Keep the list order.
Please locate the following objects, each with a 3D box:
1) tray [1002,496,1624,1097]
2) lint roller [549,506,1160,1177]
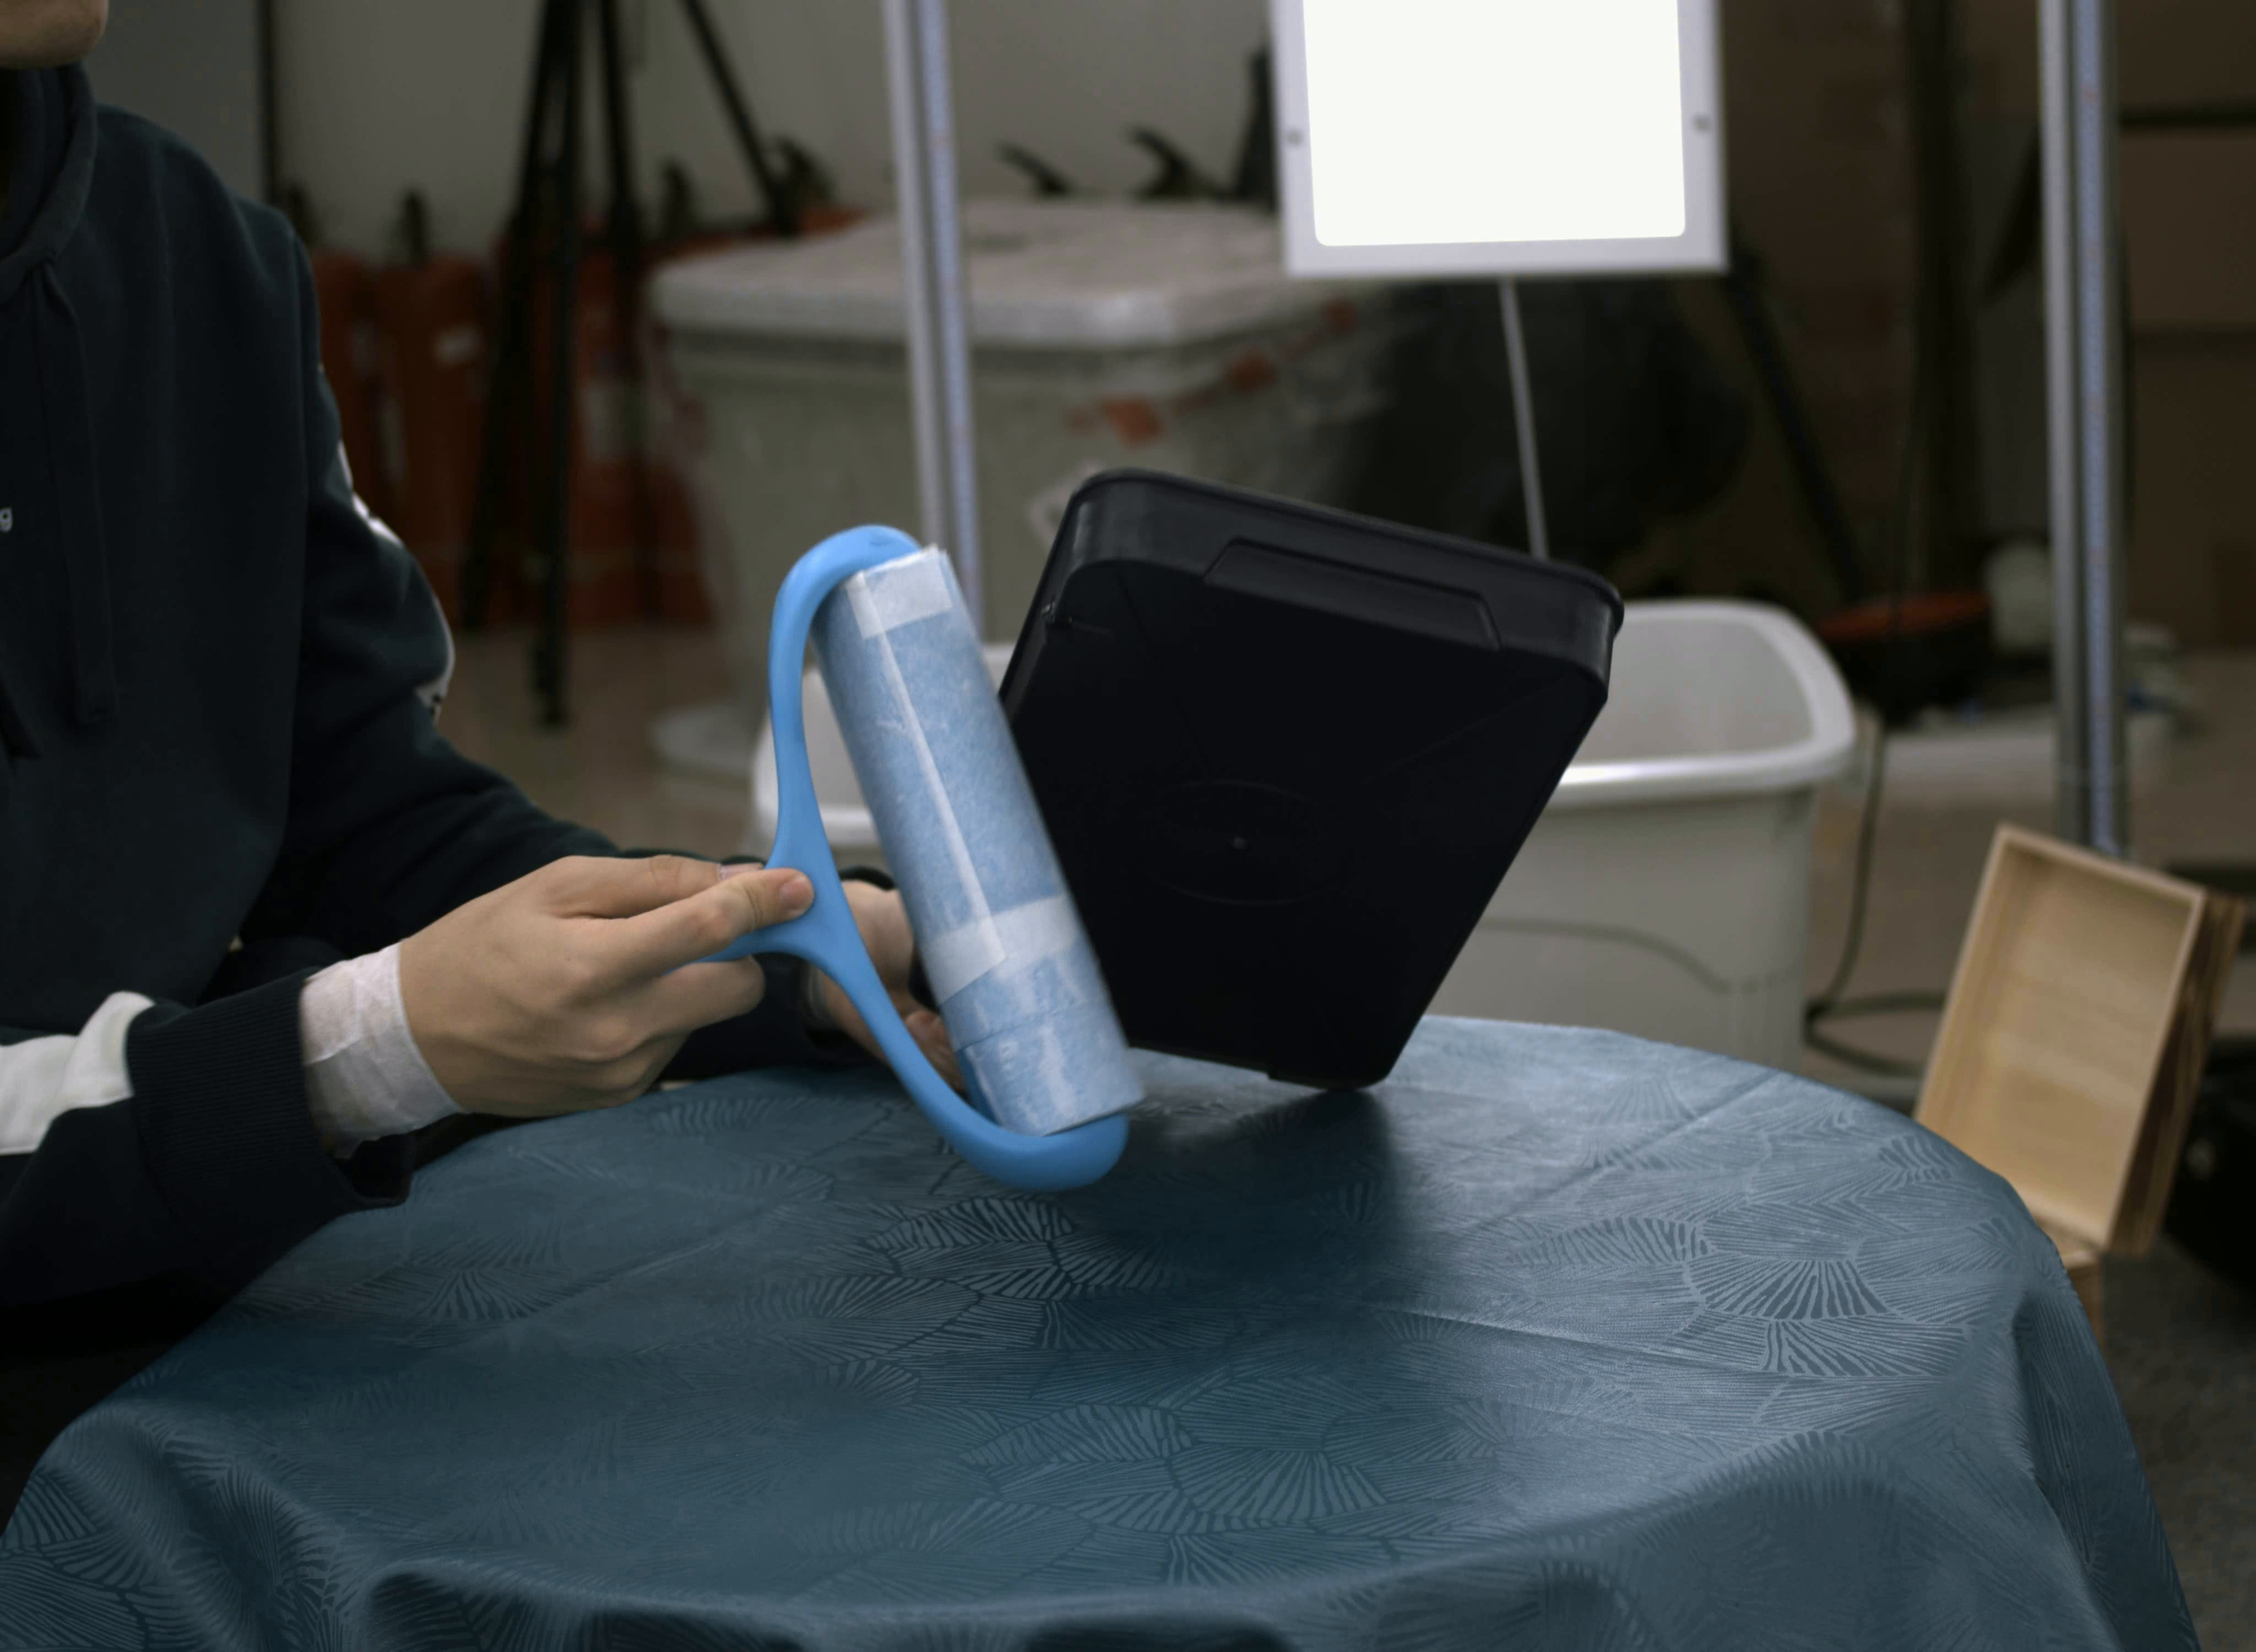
[{"bbox_3d":[0.037,-0.002,1.860,0.183,0.037,0.322,13,-29,-8],"label":"tray"},{"bbox_3d":[-0.103,0.027,1.784,0.180,0.229,0.068,-23,-4,-1],"label":"lint roller"}]
